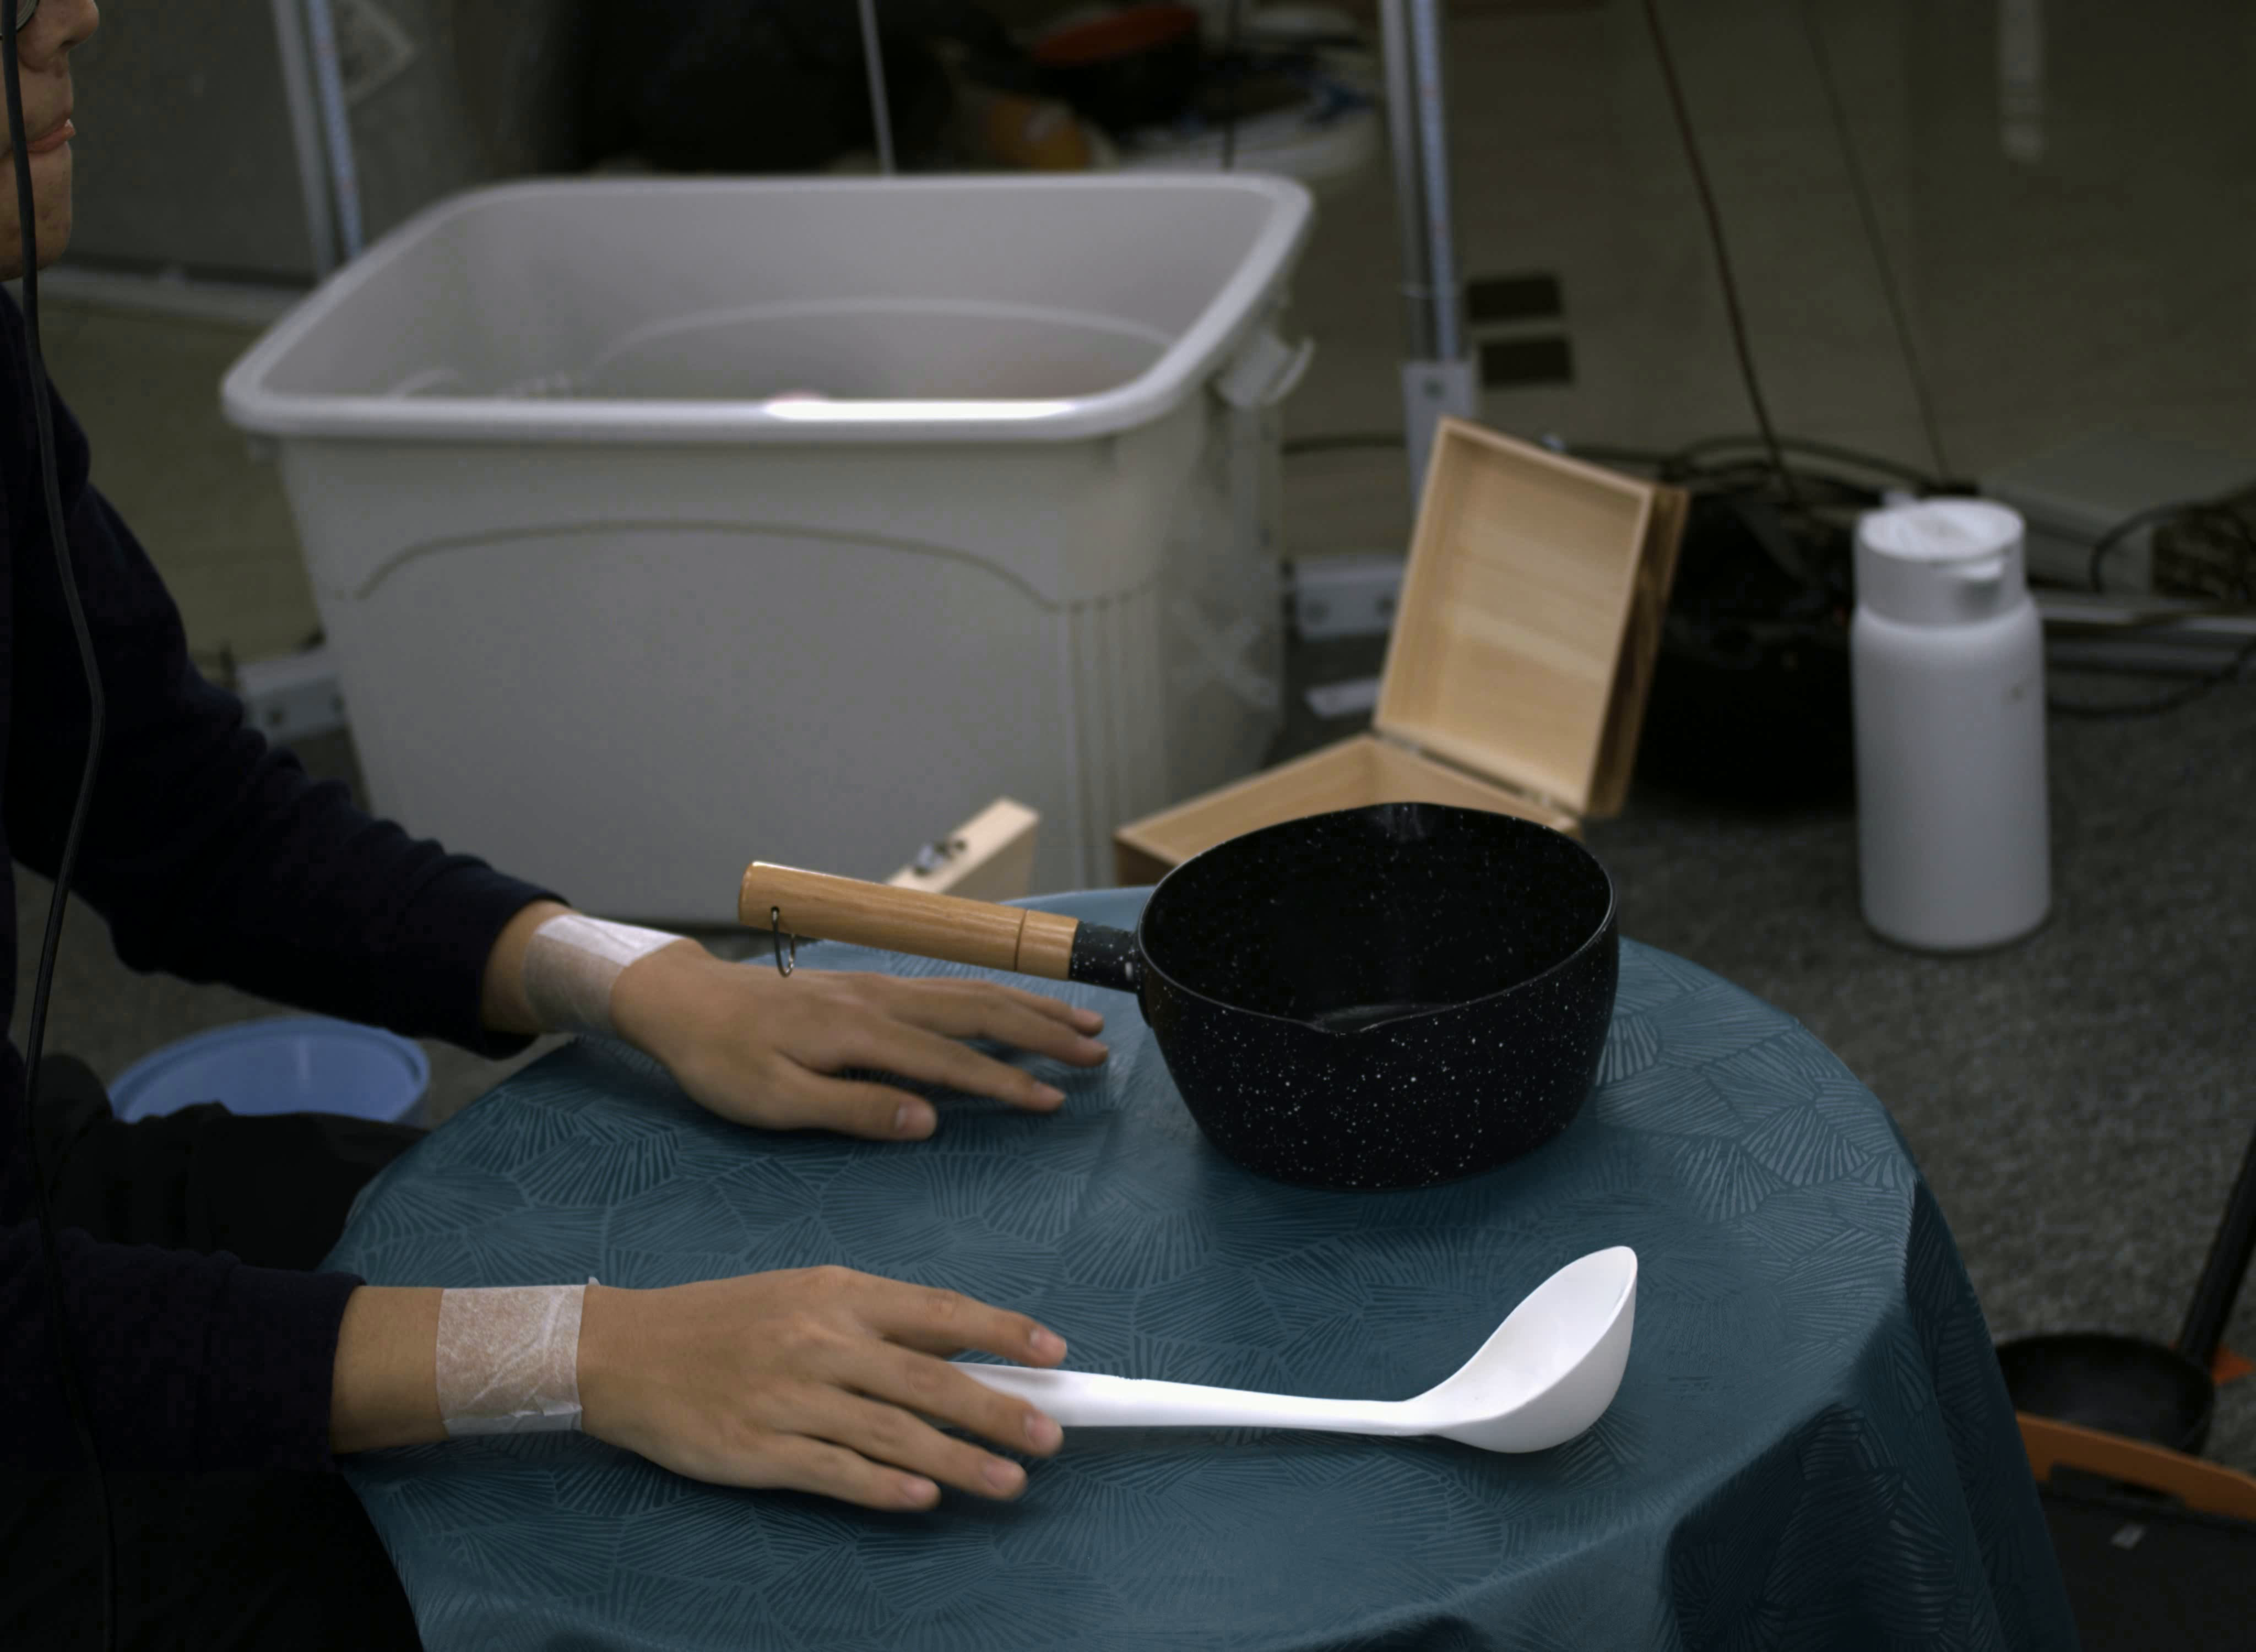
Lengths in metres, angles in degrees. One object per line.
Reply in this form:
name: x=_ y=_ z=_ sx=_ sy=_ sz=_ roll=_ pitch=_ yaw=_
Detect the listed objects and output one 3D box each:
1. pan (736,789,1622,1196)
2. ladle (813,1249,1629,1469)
pan: x=0.019 y=0.061 z=2.180 sx=0.342 sy=0.110 sz=0.204 roll=-1 pitch=27 yaw=9
ladle: x=0.031 y=0.188 z=1.959 sx=0.292 sy=0.071 sz=0.088 roll=-1 pitch=33 yaw=13
